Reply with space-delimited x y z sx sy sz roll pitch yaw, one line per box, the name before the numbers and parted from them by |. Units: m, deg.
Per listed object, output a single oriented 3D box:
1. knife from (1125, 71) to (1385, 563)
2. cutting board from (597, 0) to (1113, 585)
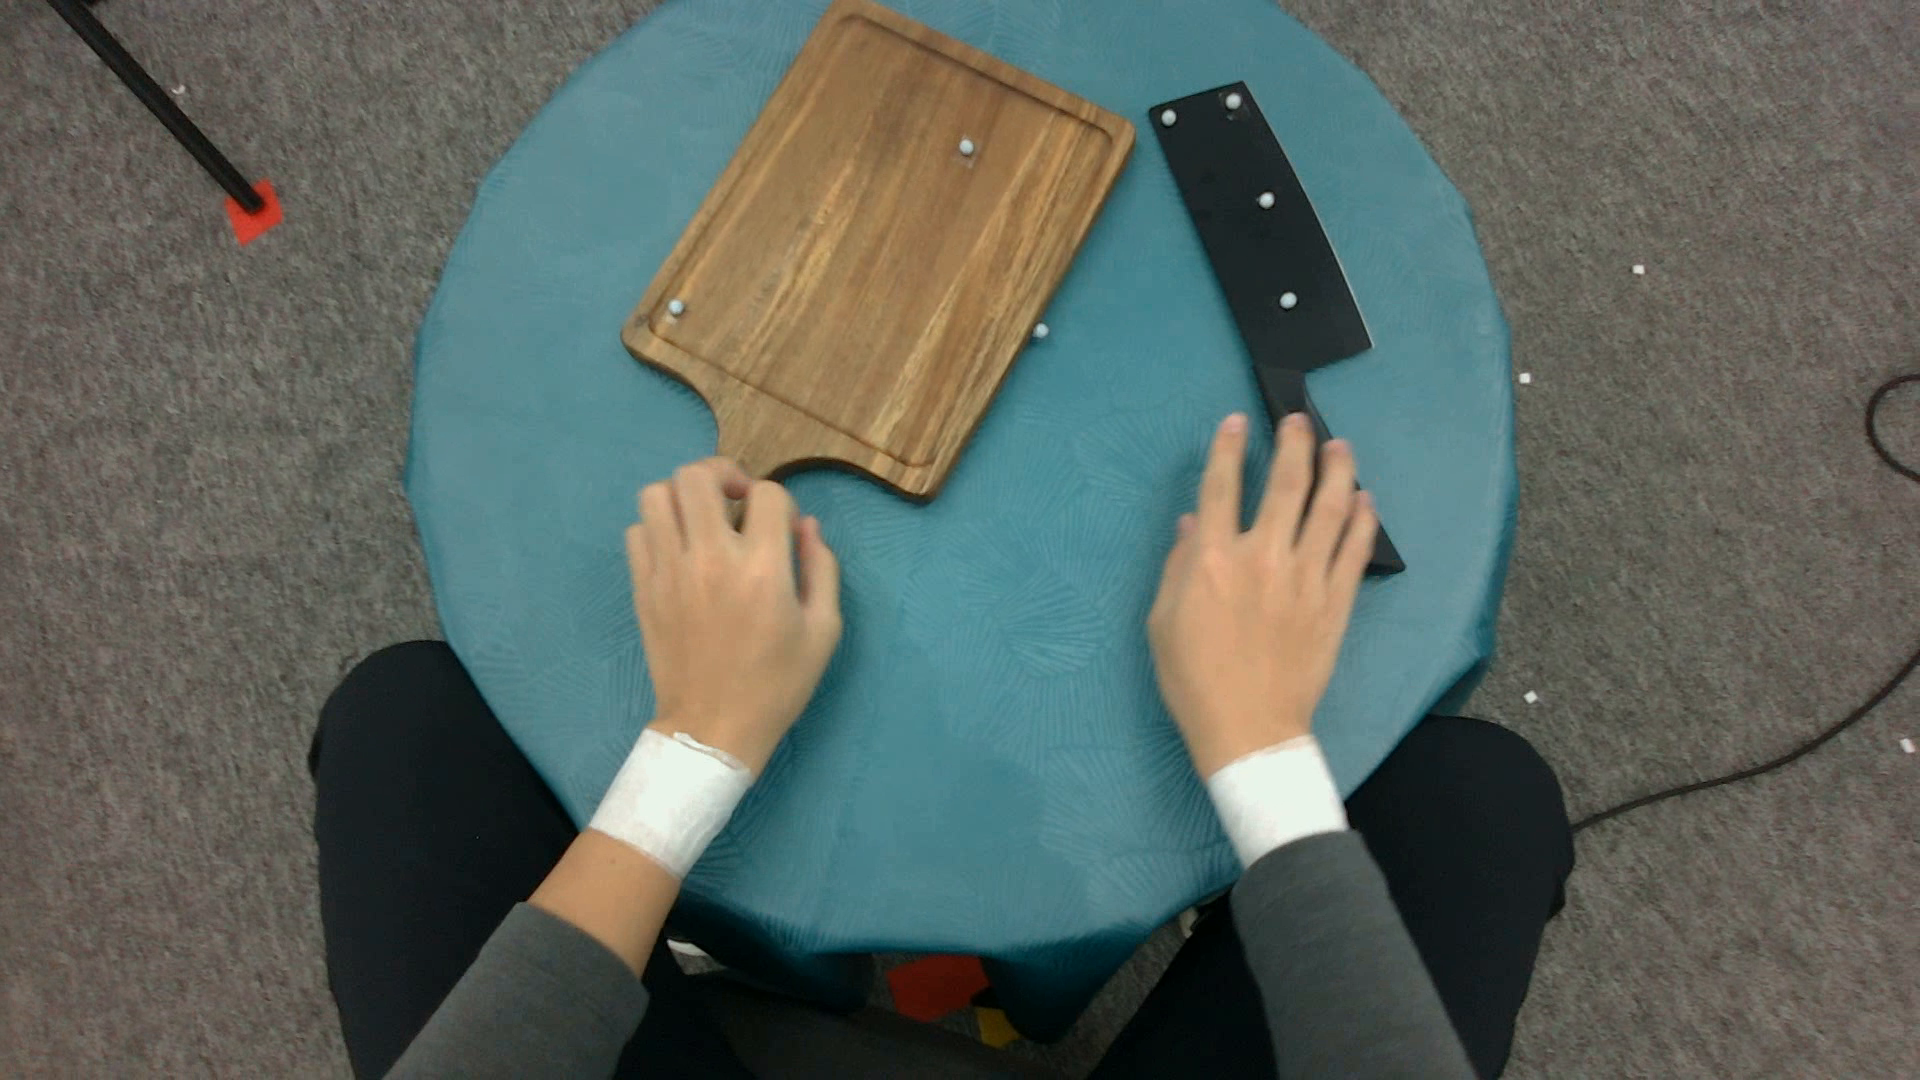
knife | 0.169 -0.128 0.755 0.081 0.021 0.303 -14 73 -5
cutting board | -0.078 -0.133 0.751 0.201 0.023 0.353 27 77 7
